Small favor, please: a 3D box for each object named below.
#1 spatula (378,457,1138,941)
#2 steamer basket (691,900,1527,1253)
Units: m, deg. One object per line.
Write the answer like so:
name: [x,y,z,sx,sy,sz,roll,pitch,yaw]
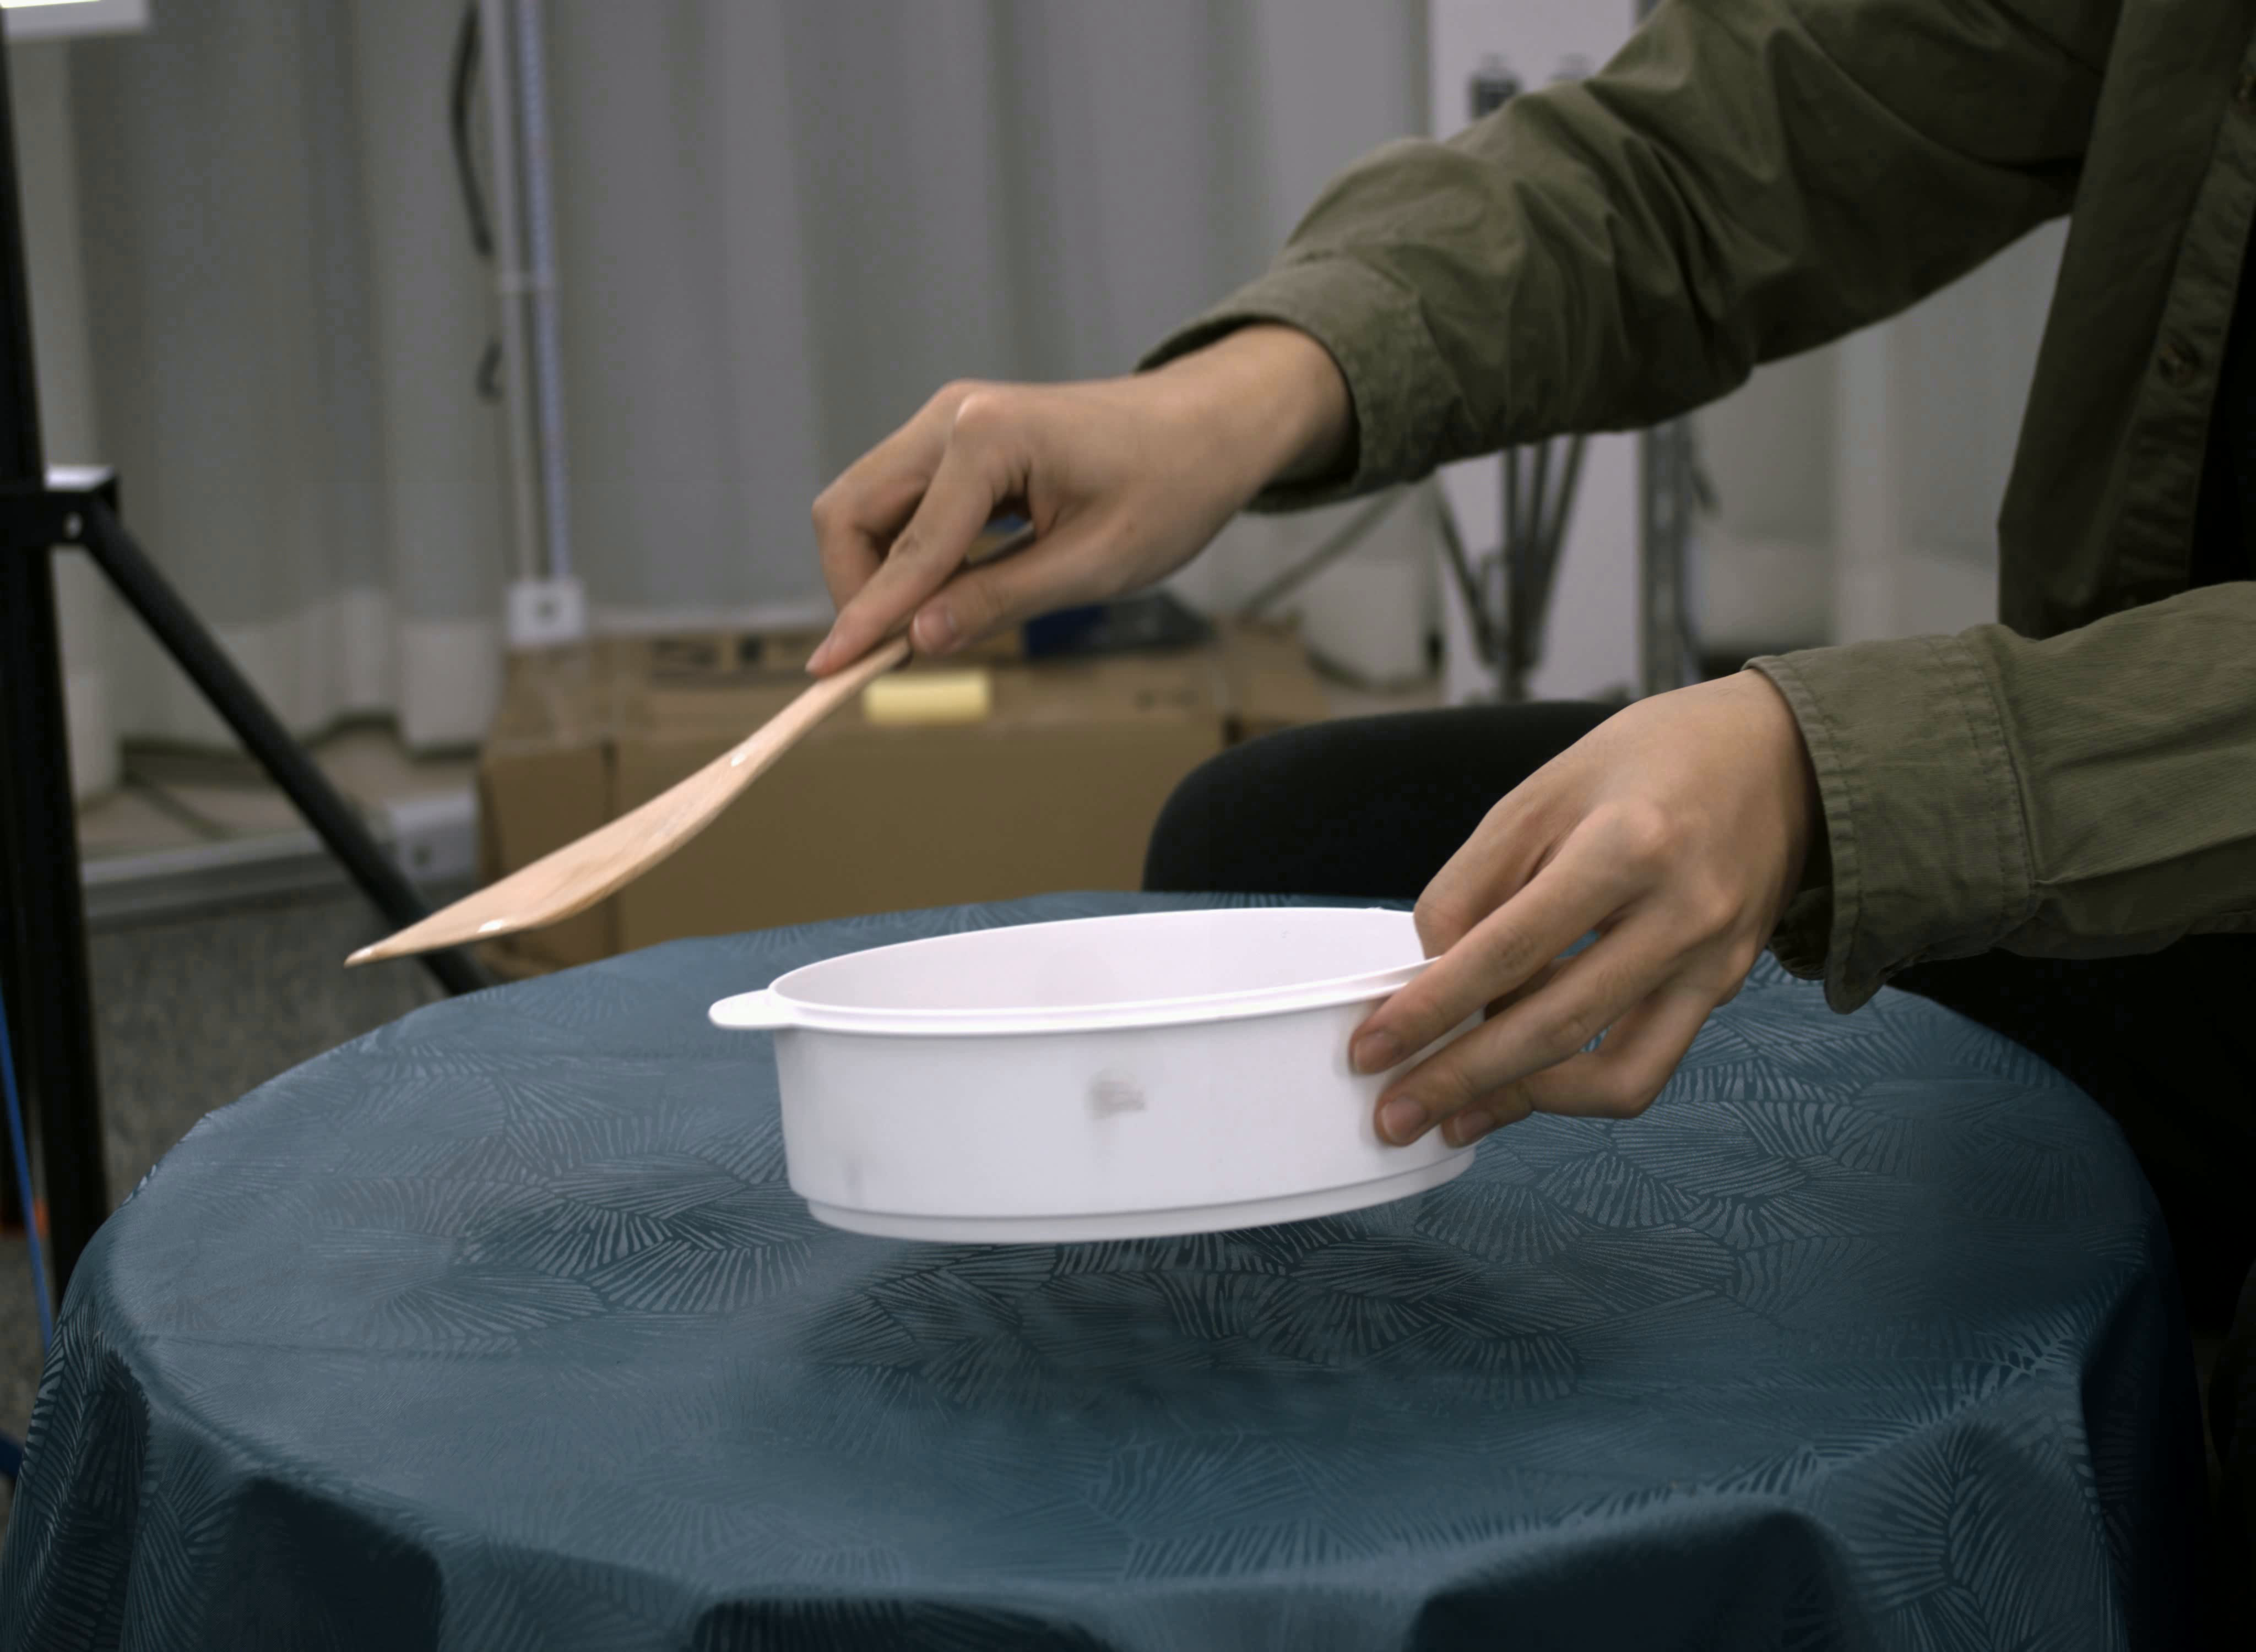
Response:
spatula: [-0.097,-0.043,1.632,0.081,0.016,0.323,-8,24,45]
steamer basket: [-0.004,0.069,1.463,0.228,0.069,0.203,-4,7,-5]
